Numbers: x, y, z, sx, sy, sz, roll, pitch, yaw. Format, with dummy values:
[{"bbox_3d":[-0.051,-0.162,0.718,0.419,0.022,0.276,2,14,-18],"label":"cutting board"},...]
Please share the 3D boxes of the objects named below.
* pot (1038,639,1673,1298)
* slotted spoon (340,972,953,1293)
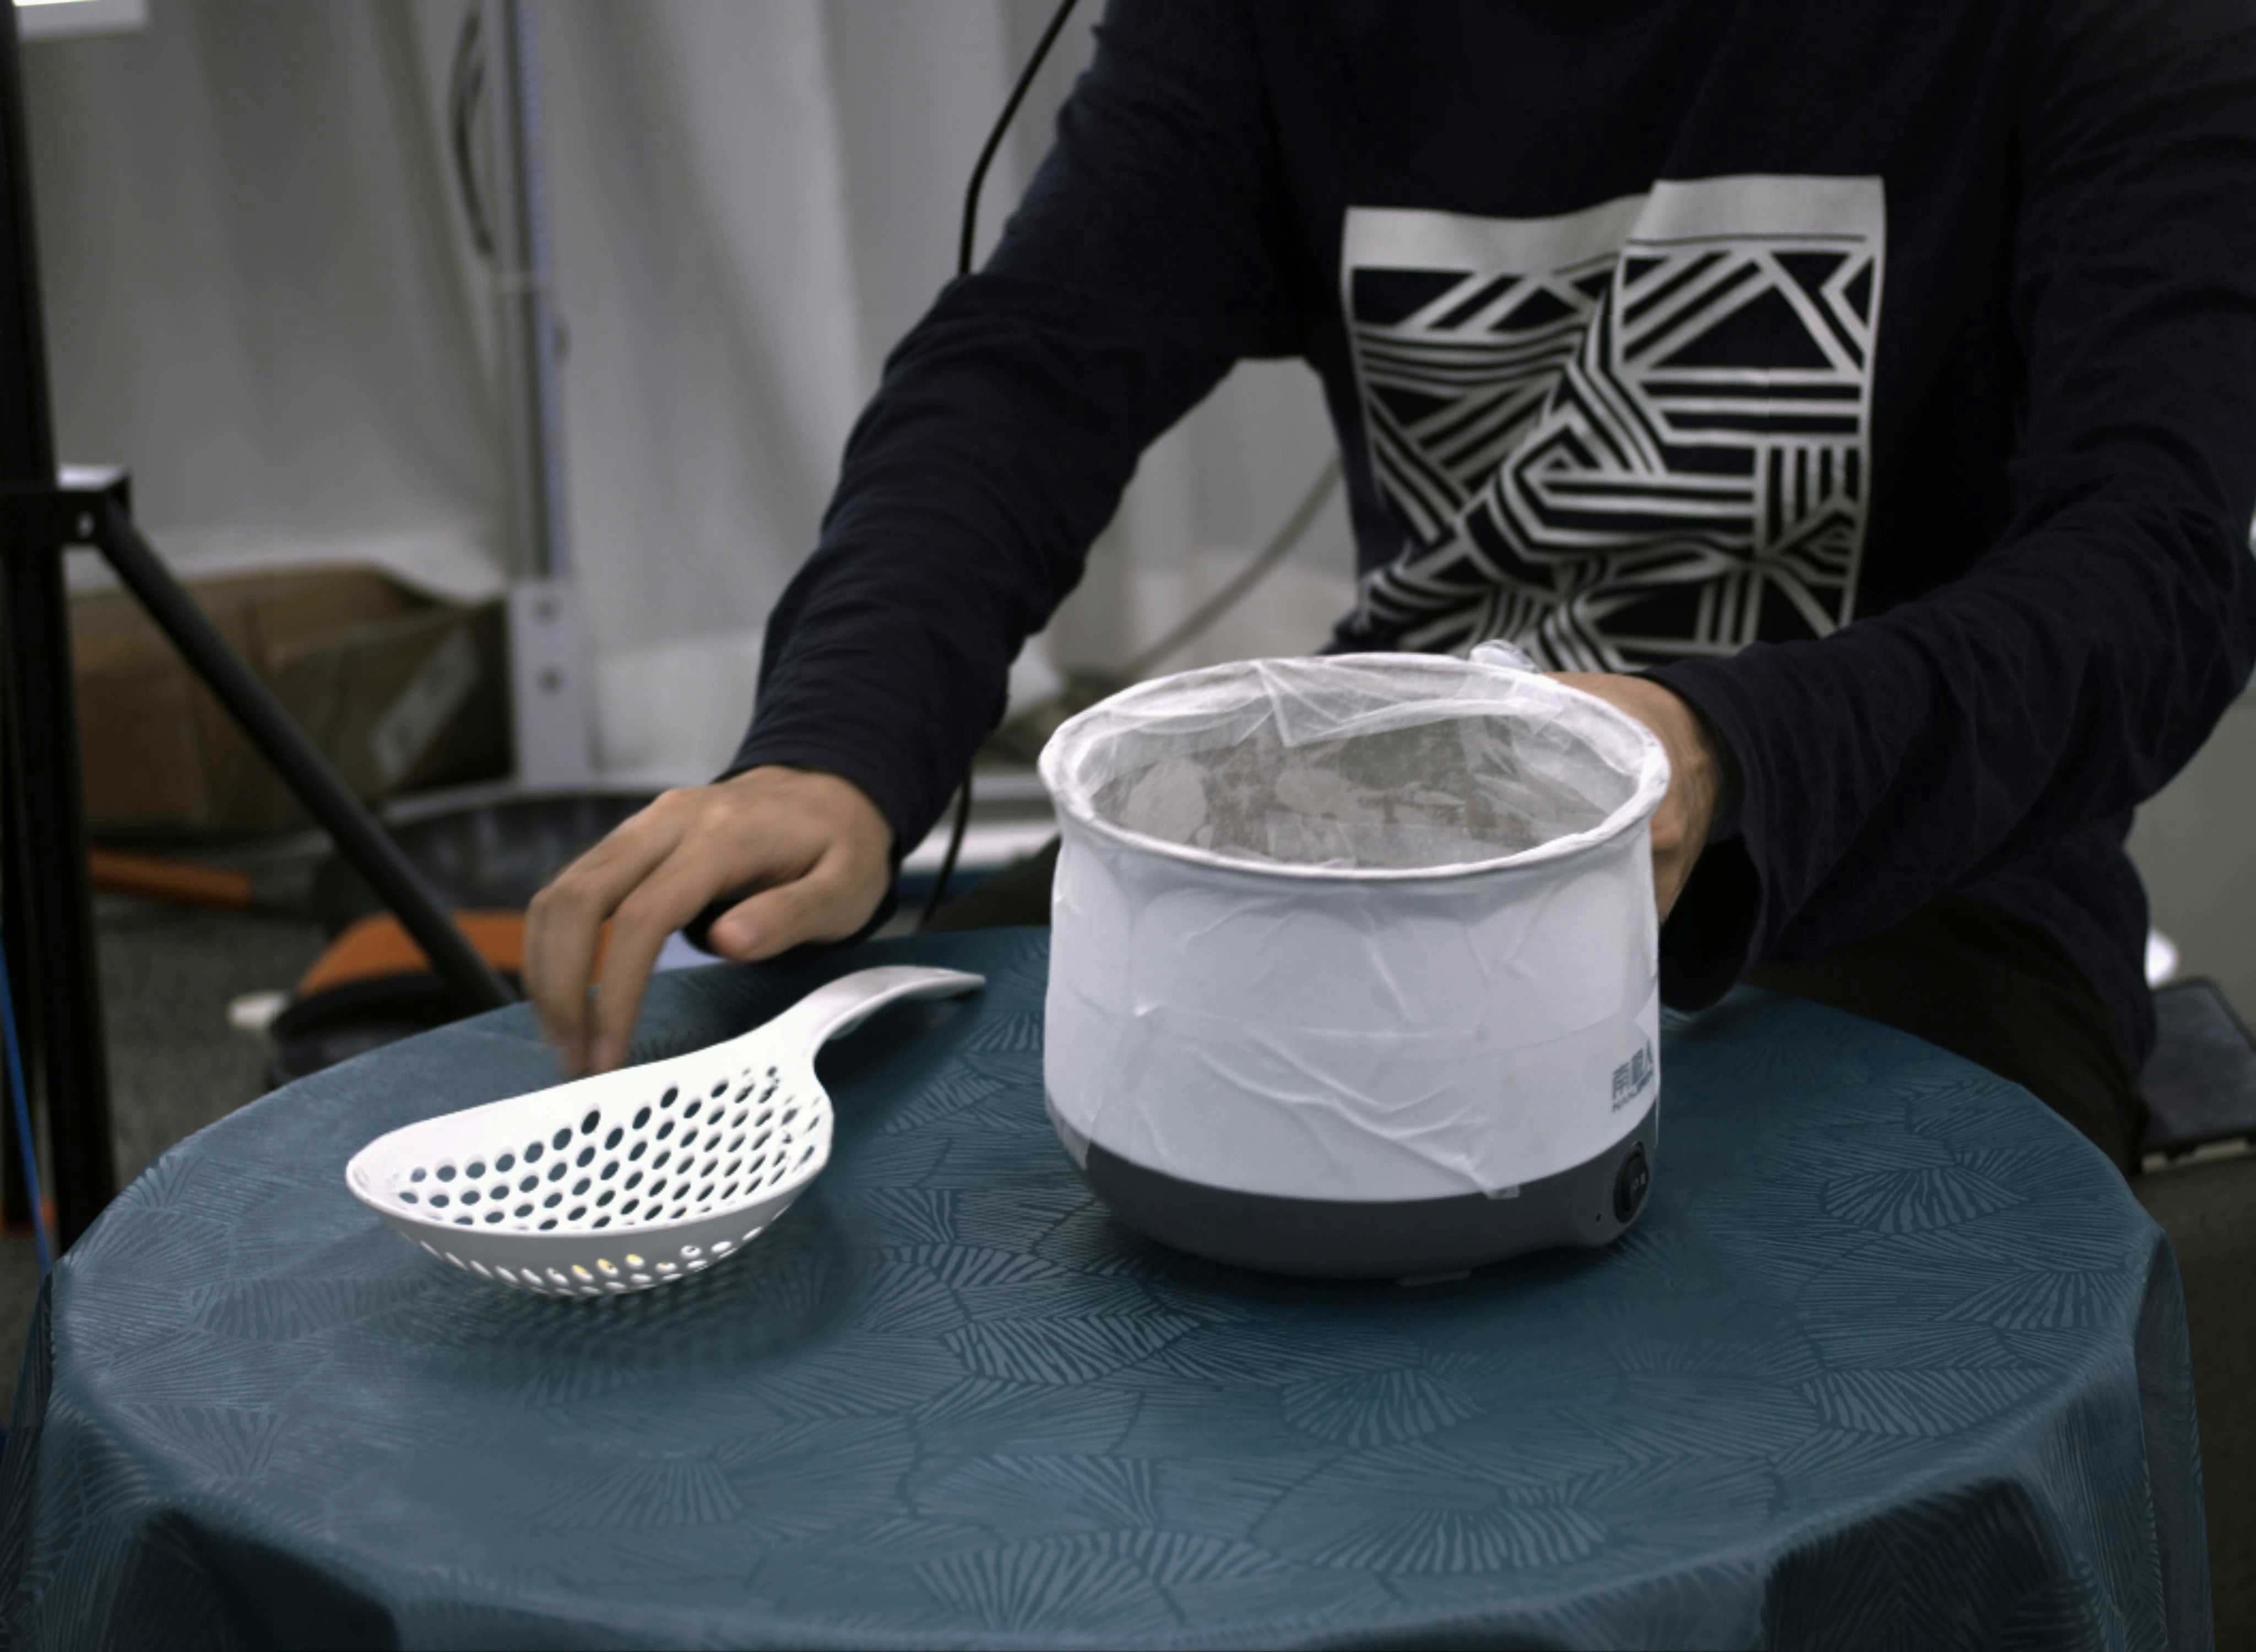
[{"bbox_3d":[0.075,0.032,1.533,0.181,0.136,0.230,11,25,24],"label":"pot"},{"bbox_3d":[-0.114,0.079,1.603,0.138,0.050,0.344,2,17,20],"label":"slotted spoon"}]
